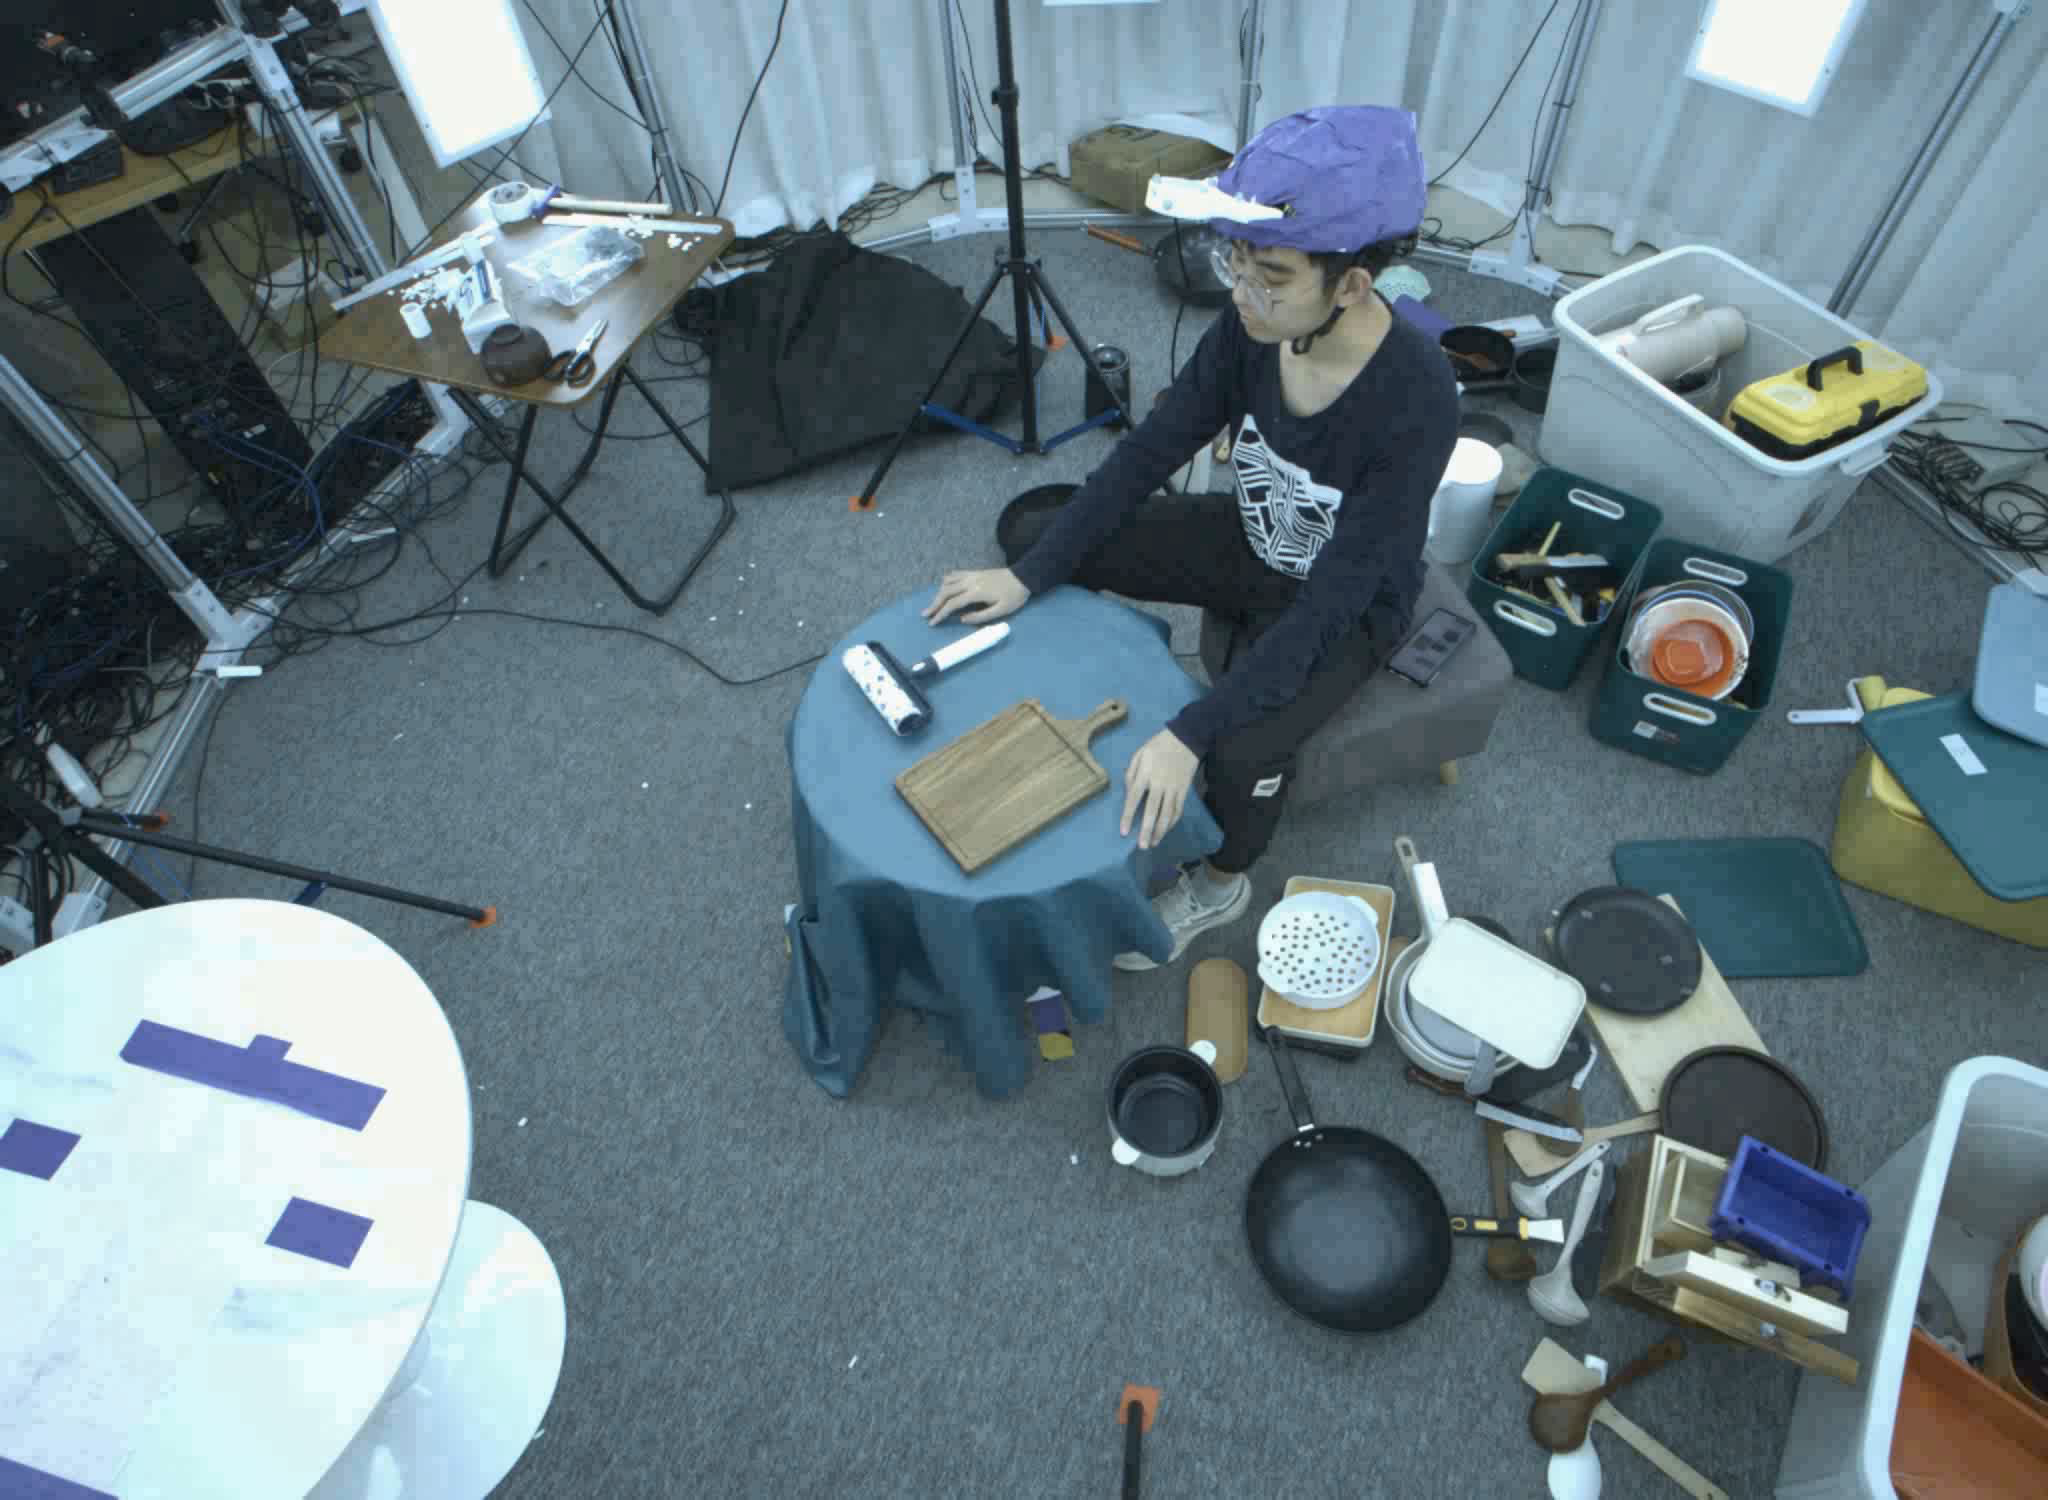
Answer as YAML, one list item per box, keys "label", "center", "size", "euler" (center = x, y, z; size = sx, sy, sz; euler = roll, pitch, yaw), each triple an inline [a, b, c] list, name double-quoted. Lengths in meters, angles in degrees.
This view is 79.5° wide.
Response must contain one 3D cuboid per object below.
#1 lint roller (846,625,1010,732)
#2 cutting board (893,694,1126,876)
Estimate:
- label: "lint roller"
  center: [-0.129, -0.139, 1.872]
  size: [0.249, 0.051, 0.173]
  euler: [-29, 58, -21]
- label: "cutting board"
  center: [0.007, 0.019, 1.768]
  size: [0.355, 0.023, 0.197]
  euler: [-33, 61, -20]
